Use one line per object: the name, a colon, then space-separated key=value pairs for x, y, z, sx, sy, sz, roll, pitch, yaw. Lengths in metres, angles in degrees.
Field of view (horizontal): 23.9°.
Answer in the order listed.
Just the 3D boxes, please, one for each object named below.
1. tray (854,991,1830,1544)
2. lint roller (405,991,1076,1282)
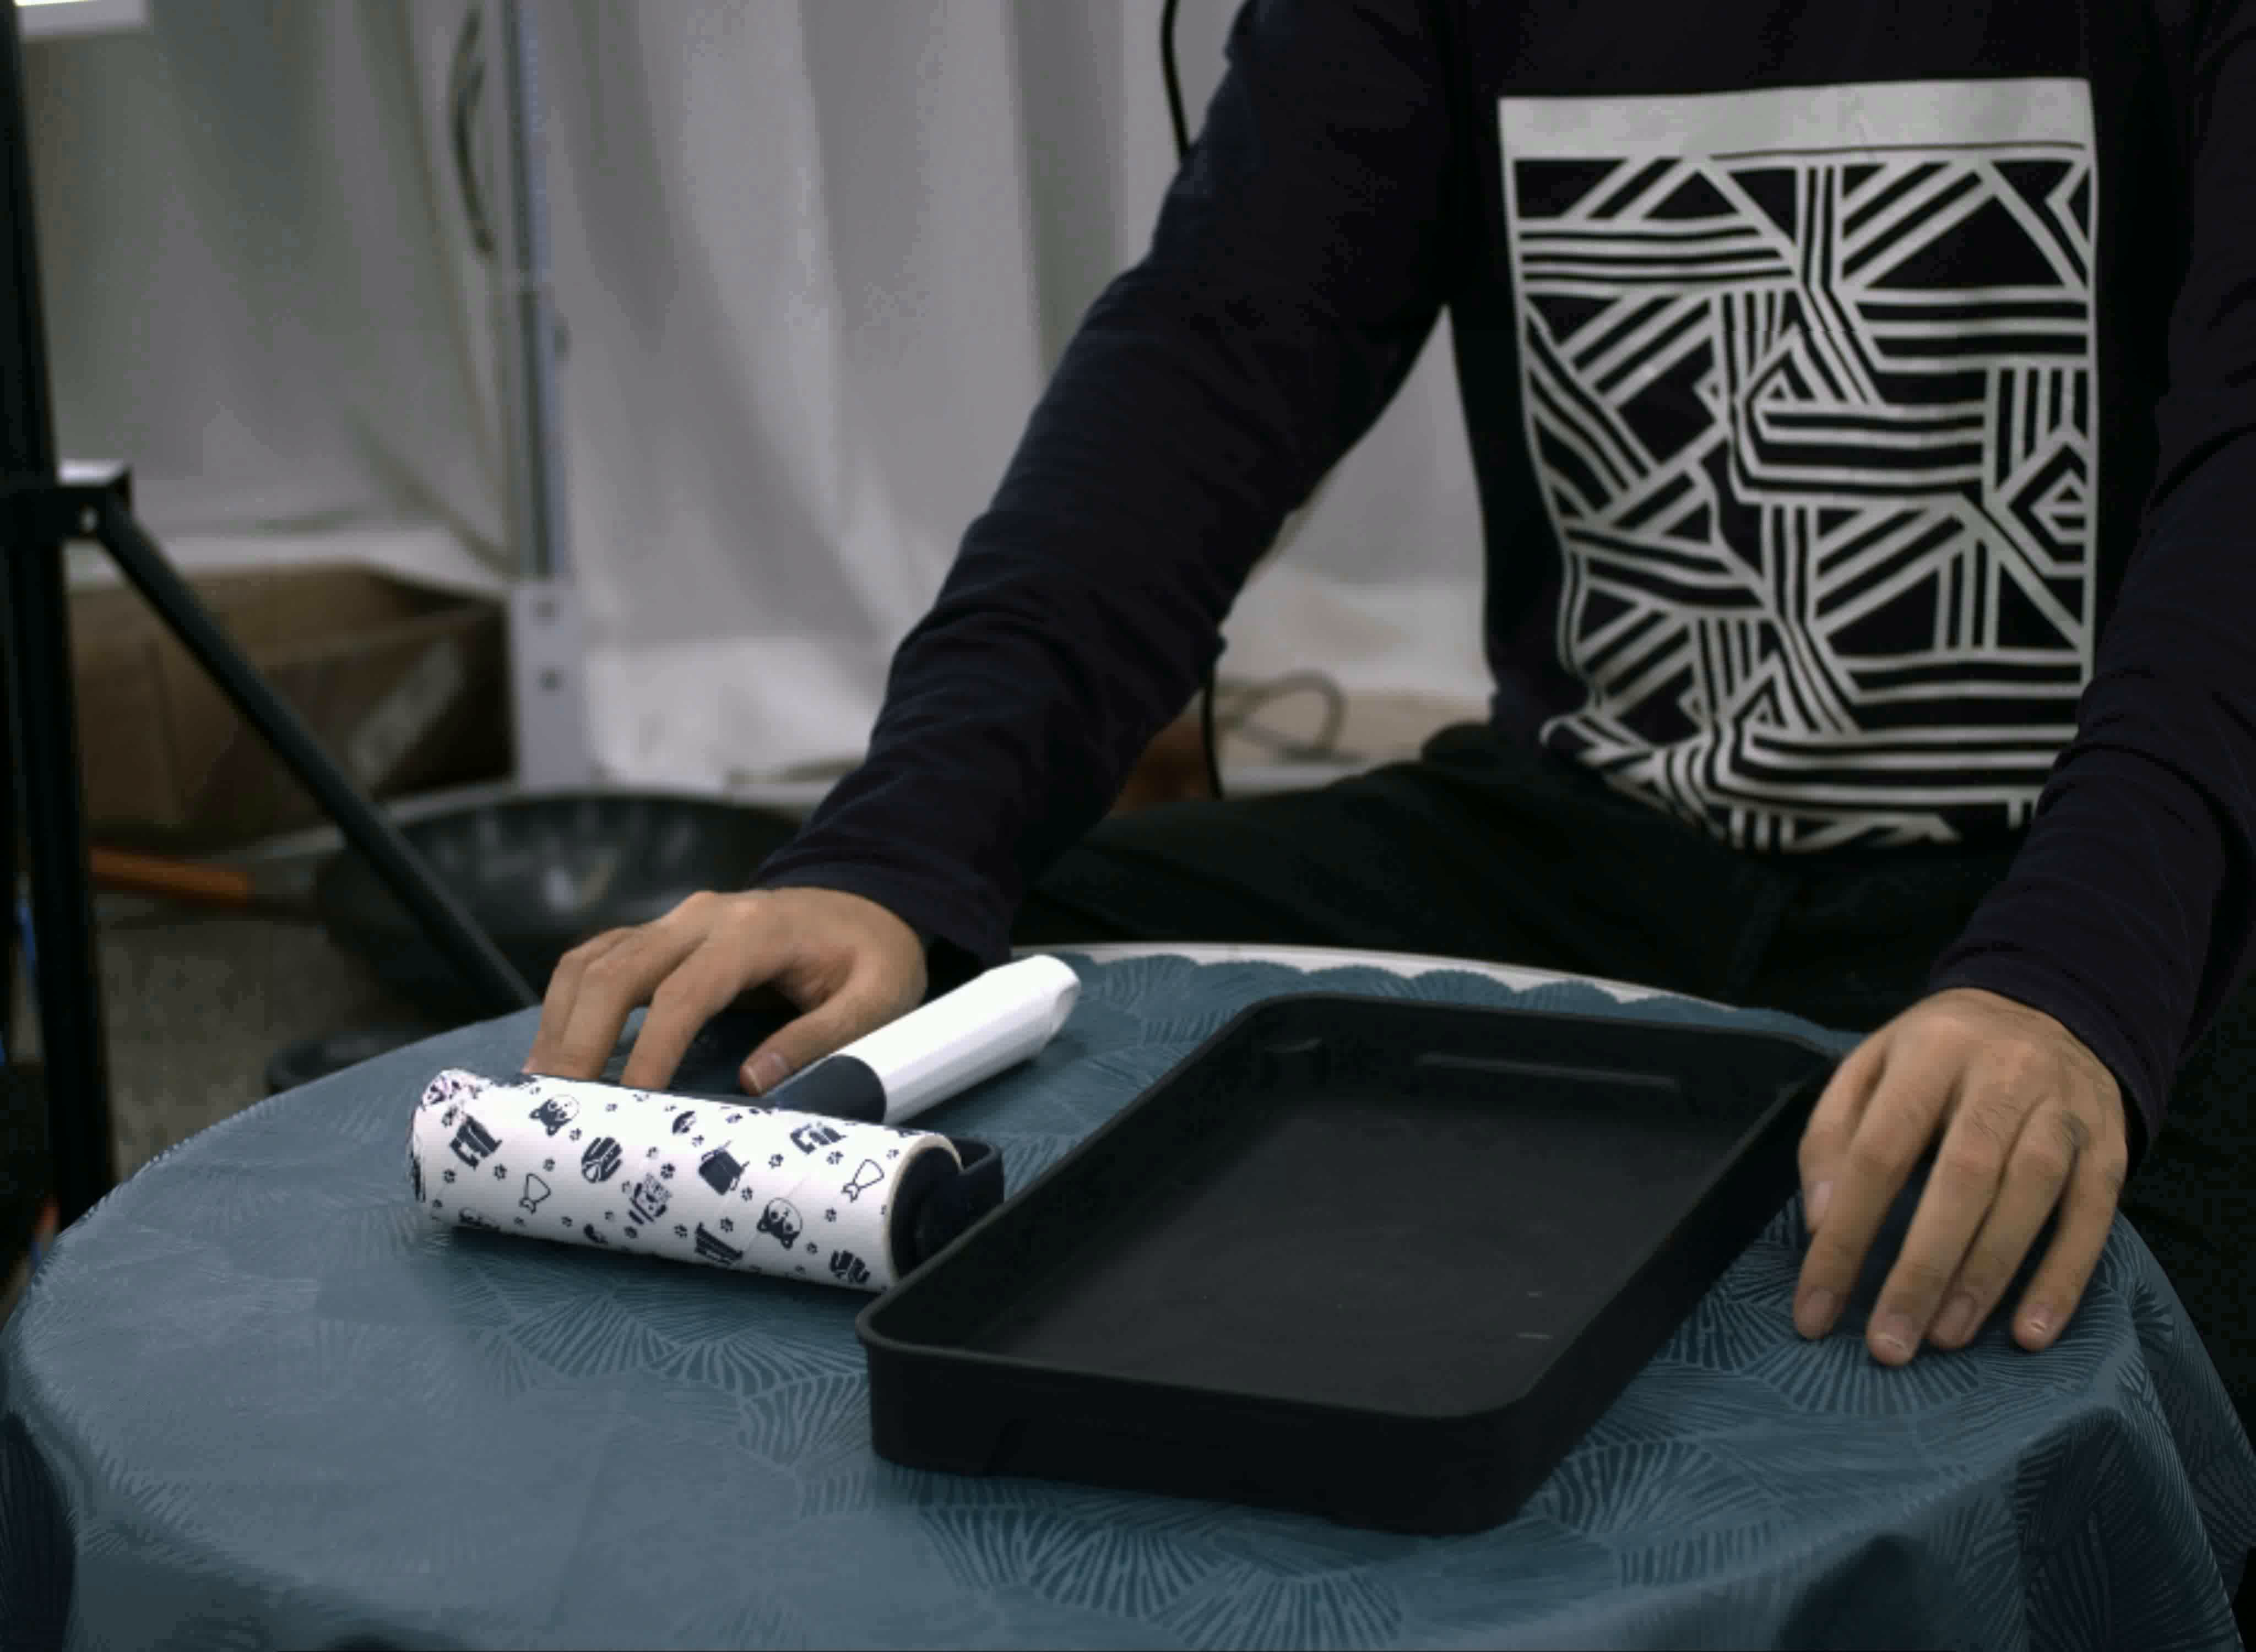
tray: x=0.068 y=0.114 z=1.466 sx=0.187 sy=0.037 sz=0.313 roll=5 pitch=17 yaw=24
lint roller: x=-0.081 y=0.079 z=1.606 sx=0.179 sy=0.050 sz=0.242 roll=5 pitch=14 yaw=27
